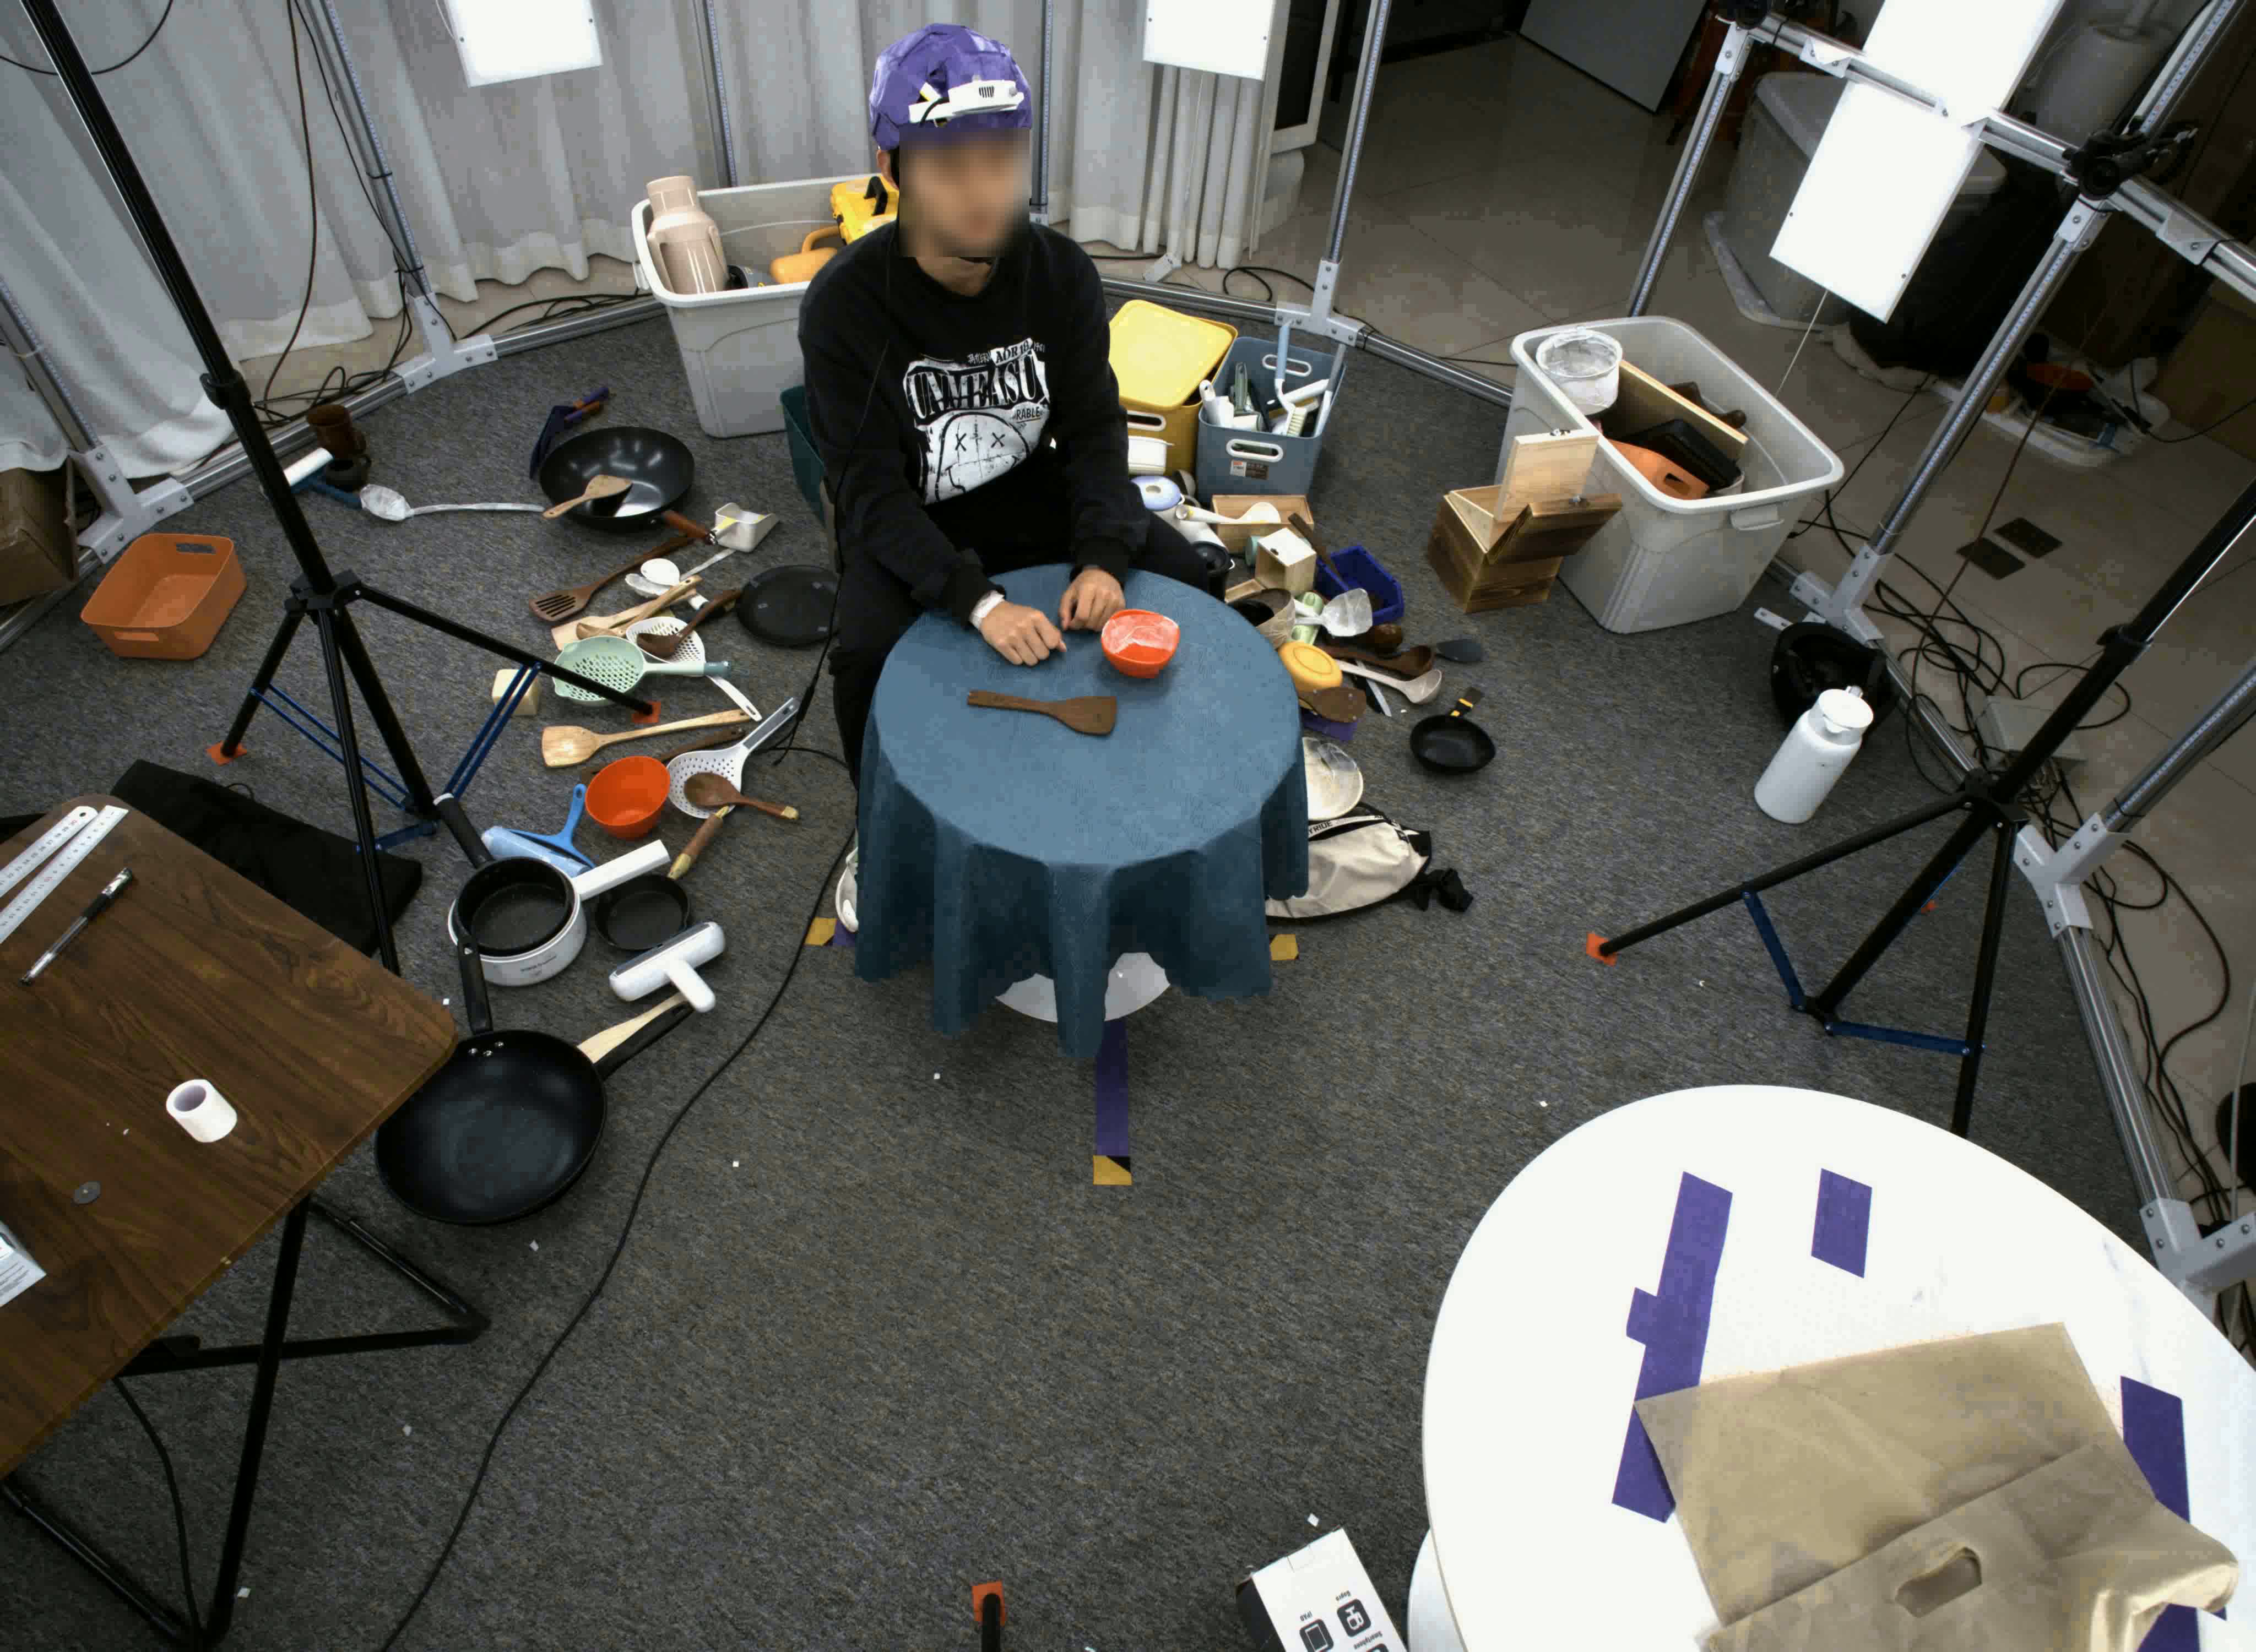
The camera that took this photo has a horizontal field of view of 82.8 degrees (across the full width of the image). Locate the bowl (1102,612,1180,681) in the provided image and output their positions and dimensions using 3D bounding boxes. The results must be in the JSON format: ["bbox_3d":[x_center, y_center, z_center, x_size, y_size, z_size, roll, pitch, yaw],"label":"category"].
[{"bbox_3d":[0.018,-0.256,1.878,0.119,0.050,0.122,2,50,-2],"label":"bowl"}]

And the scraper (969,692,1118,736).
[{"bbox_3d":[-0.120,-0.166,1.816,0.211,0.010,0.077,8,48,4],"label":"scraper"}]
